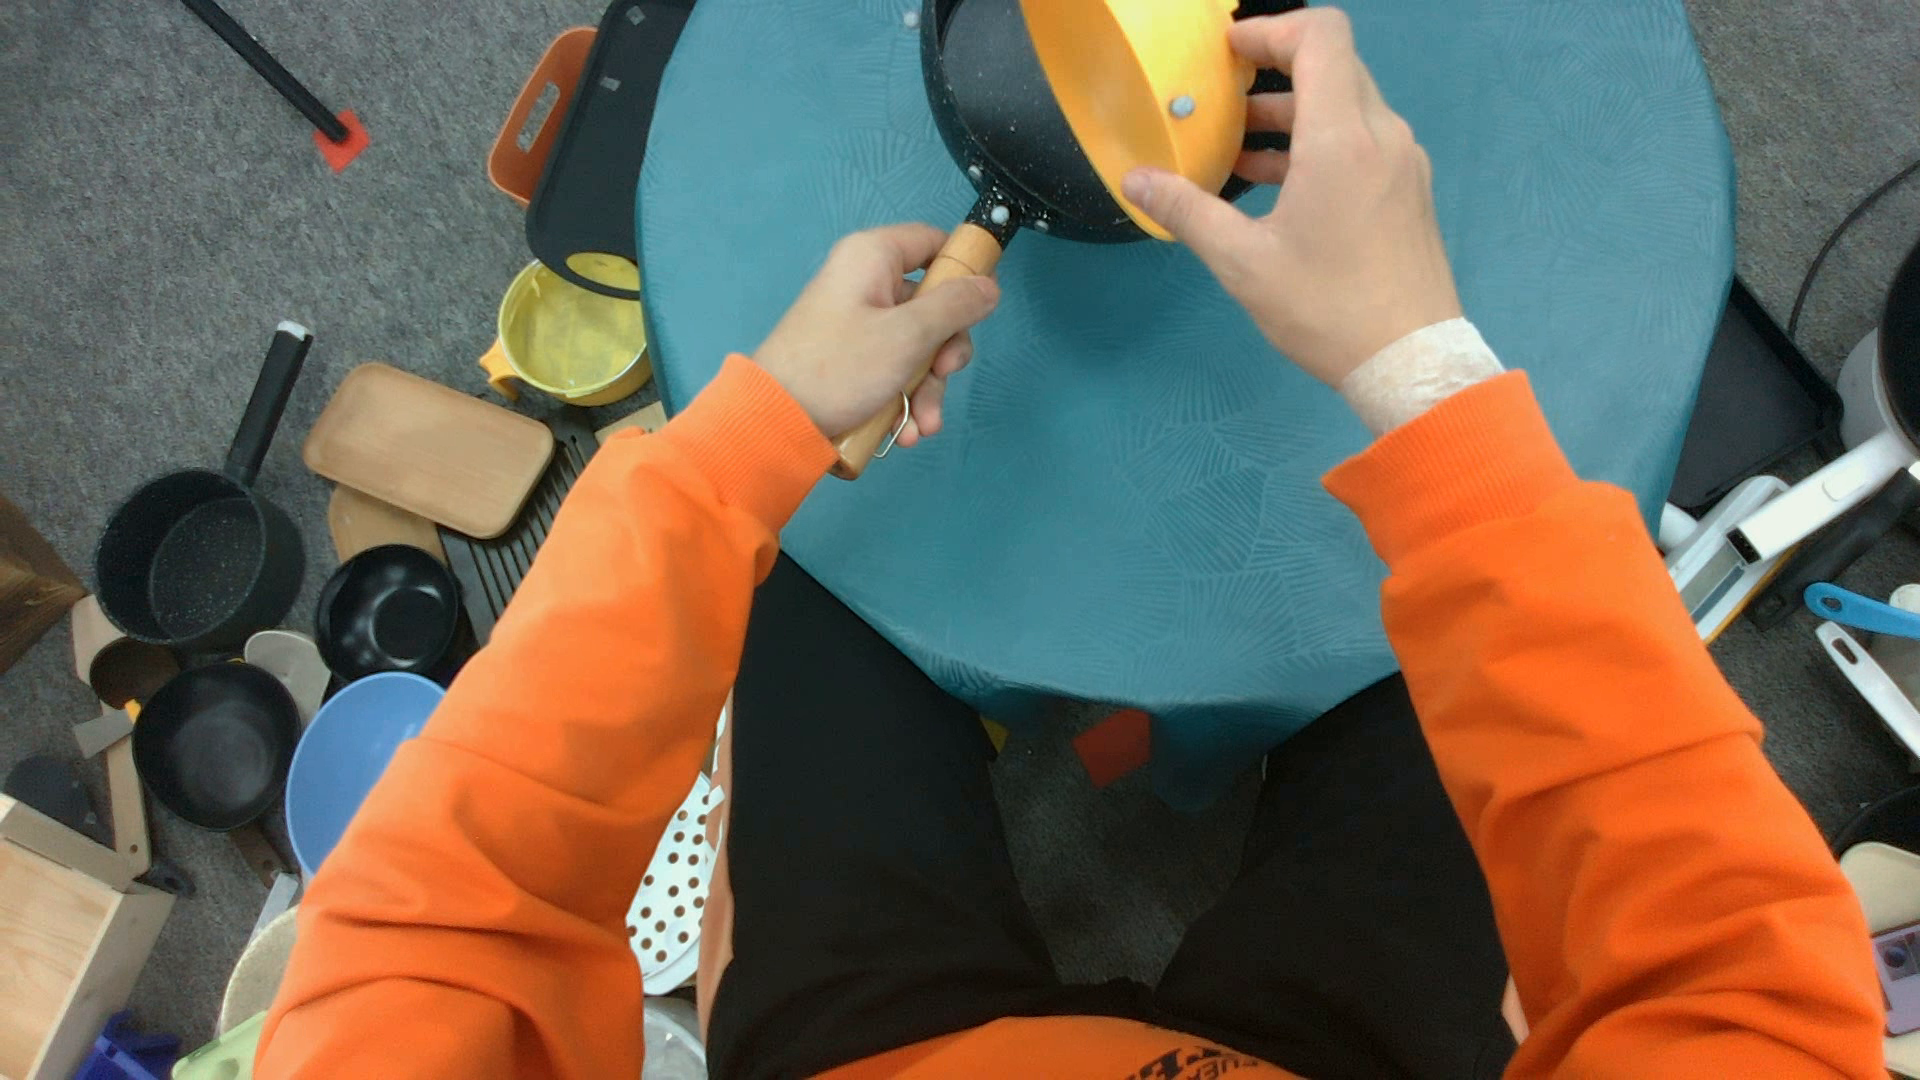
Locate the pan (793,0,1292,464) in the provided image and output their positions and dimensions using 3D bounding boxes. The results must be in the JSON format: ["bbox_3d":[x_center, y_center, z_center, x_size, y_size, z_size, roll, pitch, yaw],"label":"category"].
[{"bbox_3d":[0.020,-0.175,0.654,0.207,0.108,0.343,34,80,-12],"label":"pan"}]

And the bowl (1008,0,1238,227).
[{"bbox_3d":[0.076,-0.212,0.589,0.060,0.145,0.145,-32,75,0],"label":"bowl"}]
